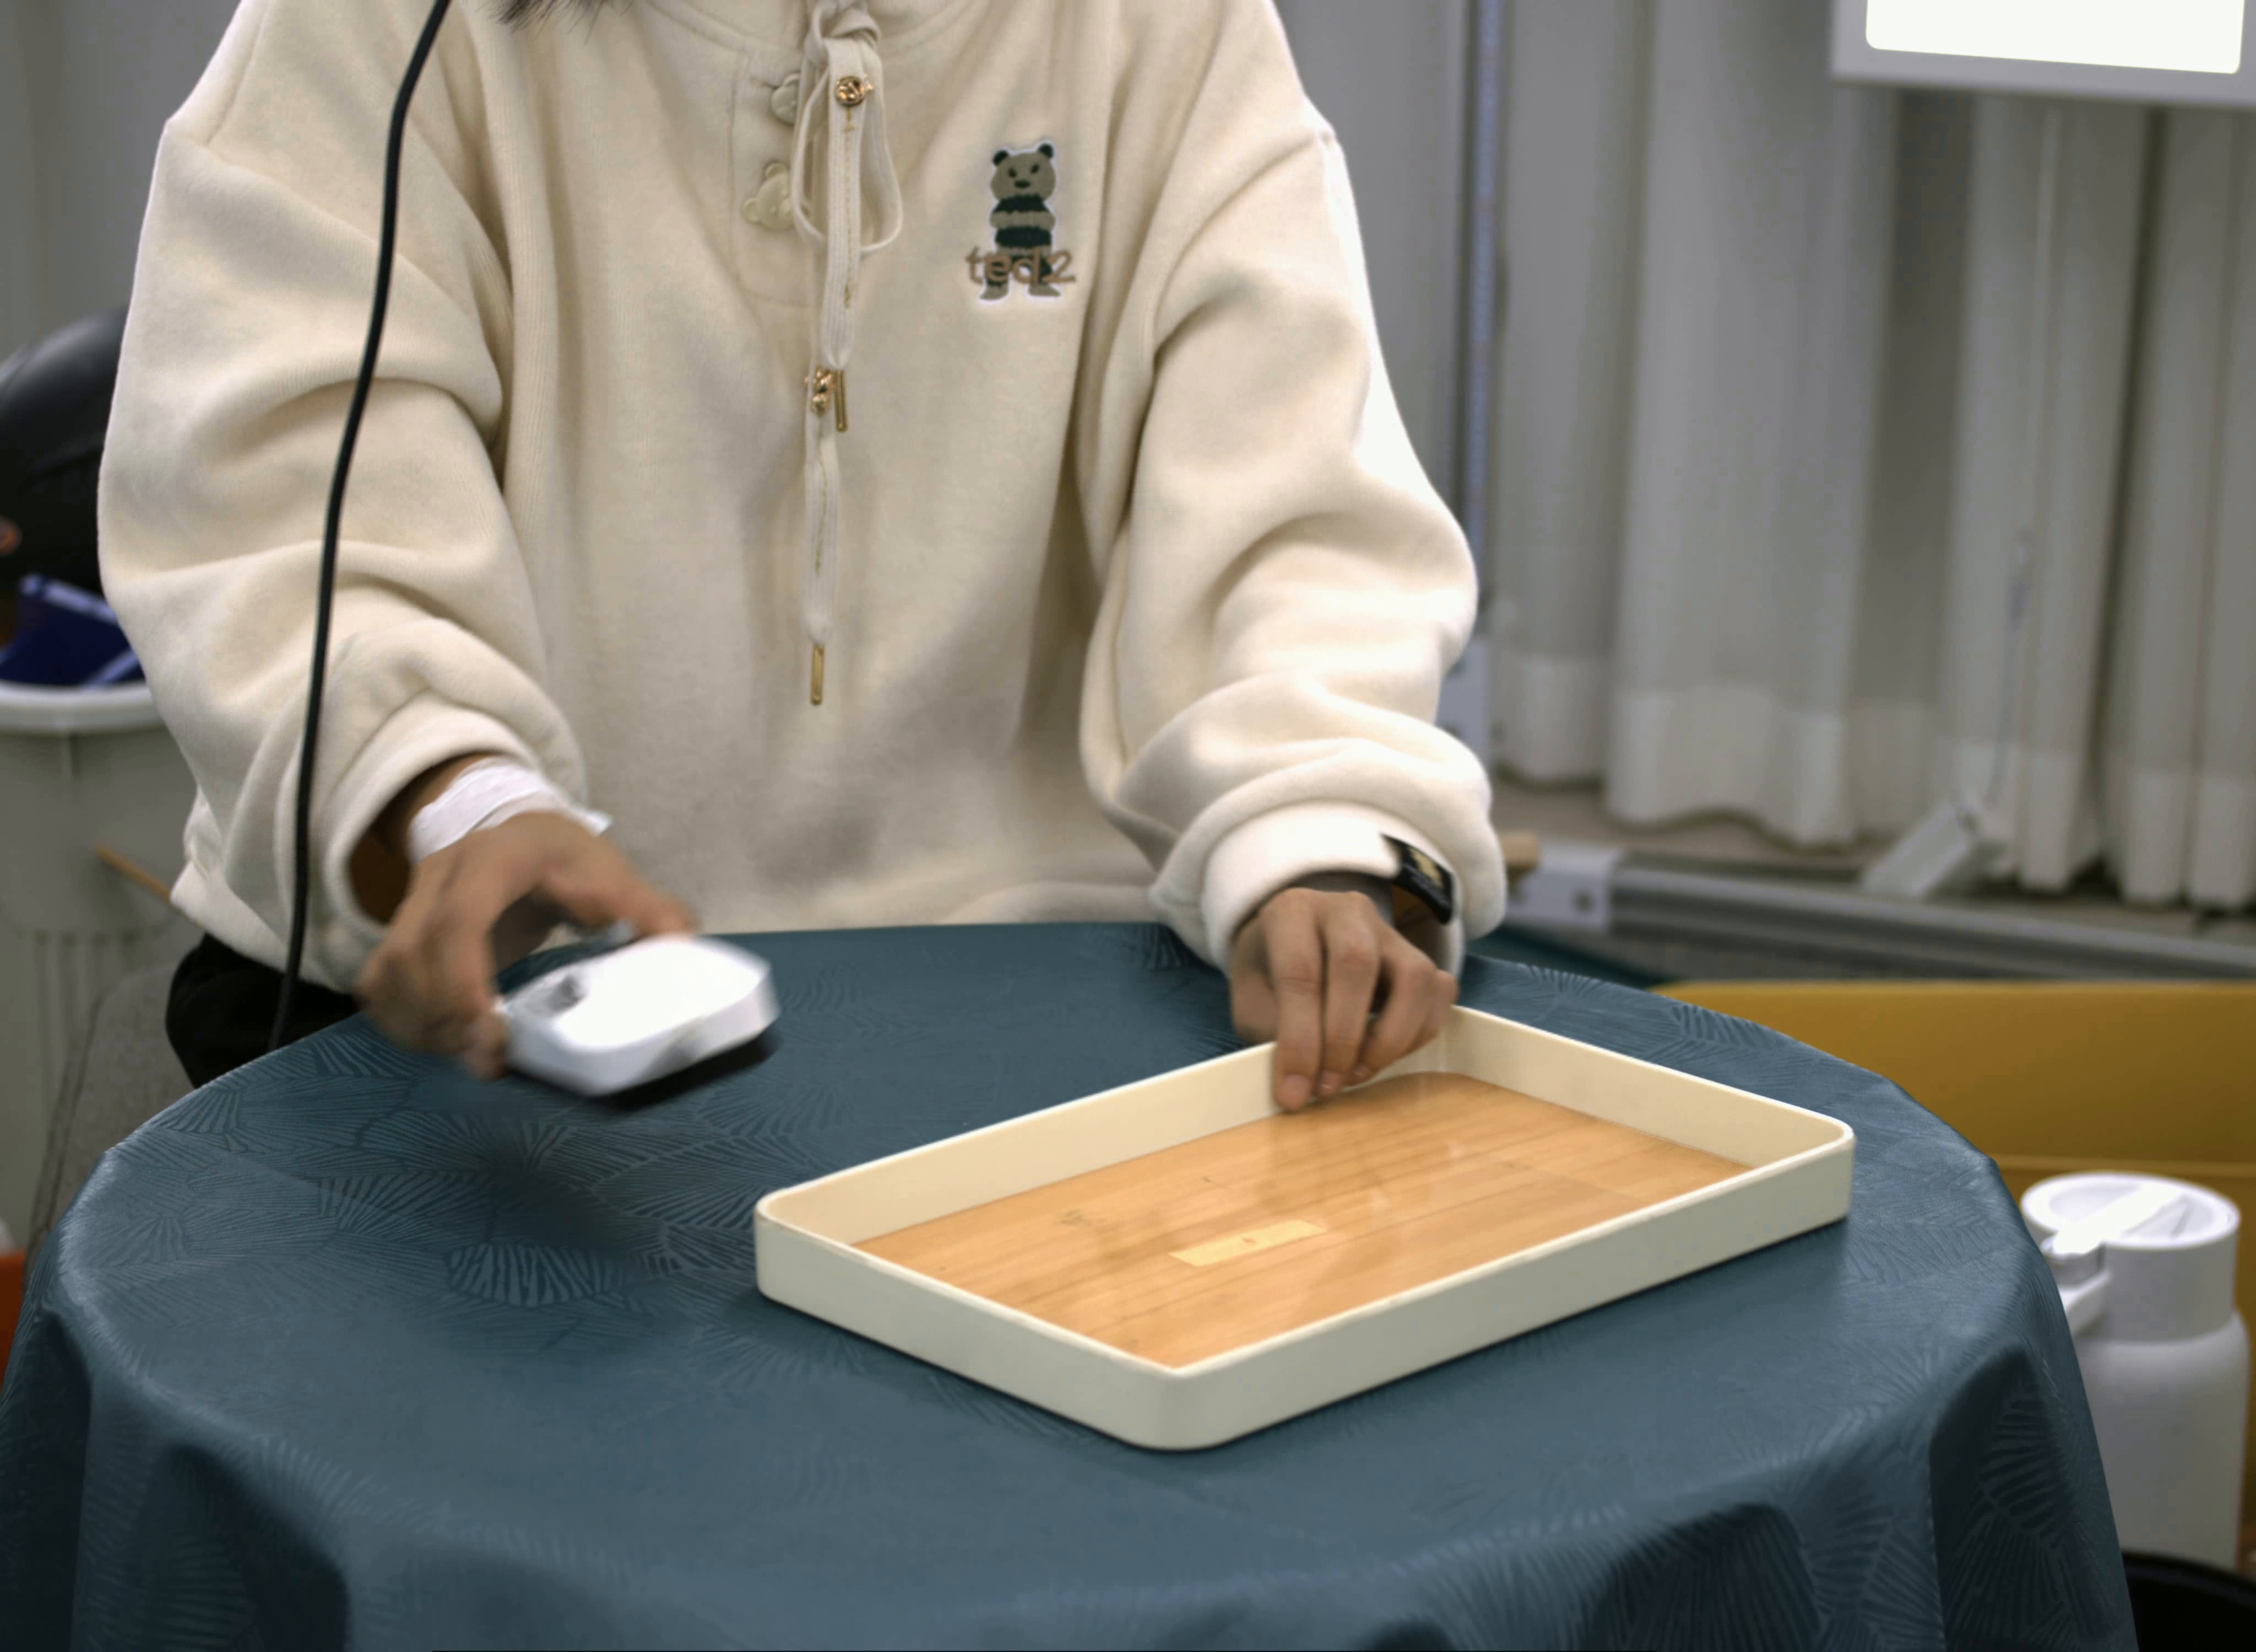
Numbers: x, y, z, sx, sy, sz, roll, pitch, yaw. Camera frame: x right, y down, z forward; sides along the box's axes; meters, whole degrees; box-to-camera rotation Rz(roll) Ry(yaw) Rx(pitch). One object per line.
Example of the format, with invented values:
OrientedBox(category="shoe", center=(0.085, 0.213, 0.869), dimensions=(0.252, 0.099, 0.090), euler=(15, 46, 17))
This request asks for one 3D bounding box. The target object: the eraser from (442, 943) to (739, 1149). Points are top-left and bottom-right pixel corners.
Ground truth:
OrientedBox(category="eraser", center=(-0.159, 0.063, 1.565), dimensions=(0.063, 0.035, 0.130), euler=(-19, 14, -19))

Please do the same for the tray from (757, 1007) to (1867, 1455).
OrientedBox(category="tray", center=(0.058, 0.115, 1.564), dimensions=(0.302, 0.027, 0.189), euler=(-14, 21, -41))
